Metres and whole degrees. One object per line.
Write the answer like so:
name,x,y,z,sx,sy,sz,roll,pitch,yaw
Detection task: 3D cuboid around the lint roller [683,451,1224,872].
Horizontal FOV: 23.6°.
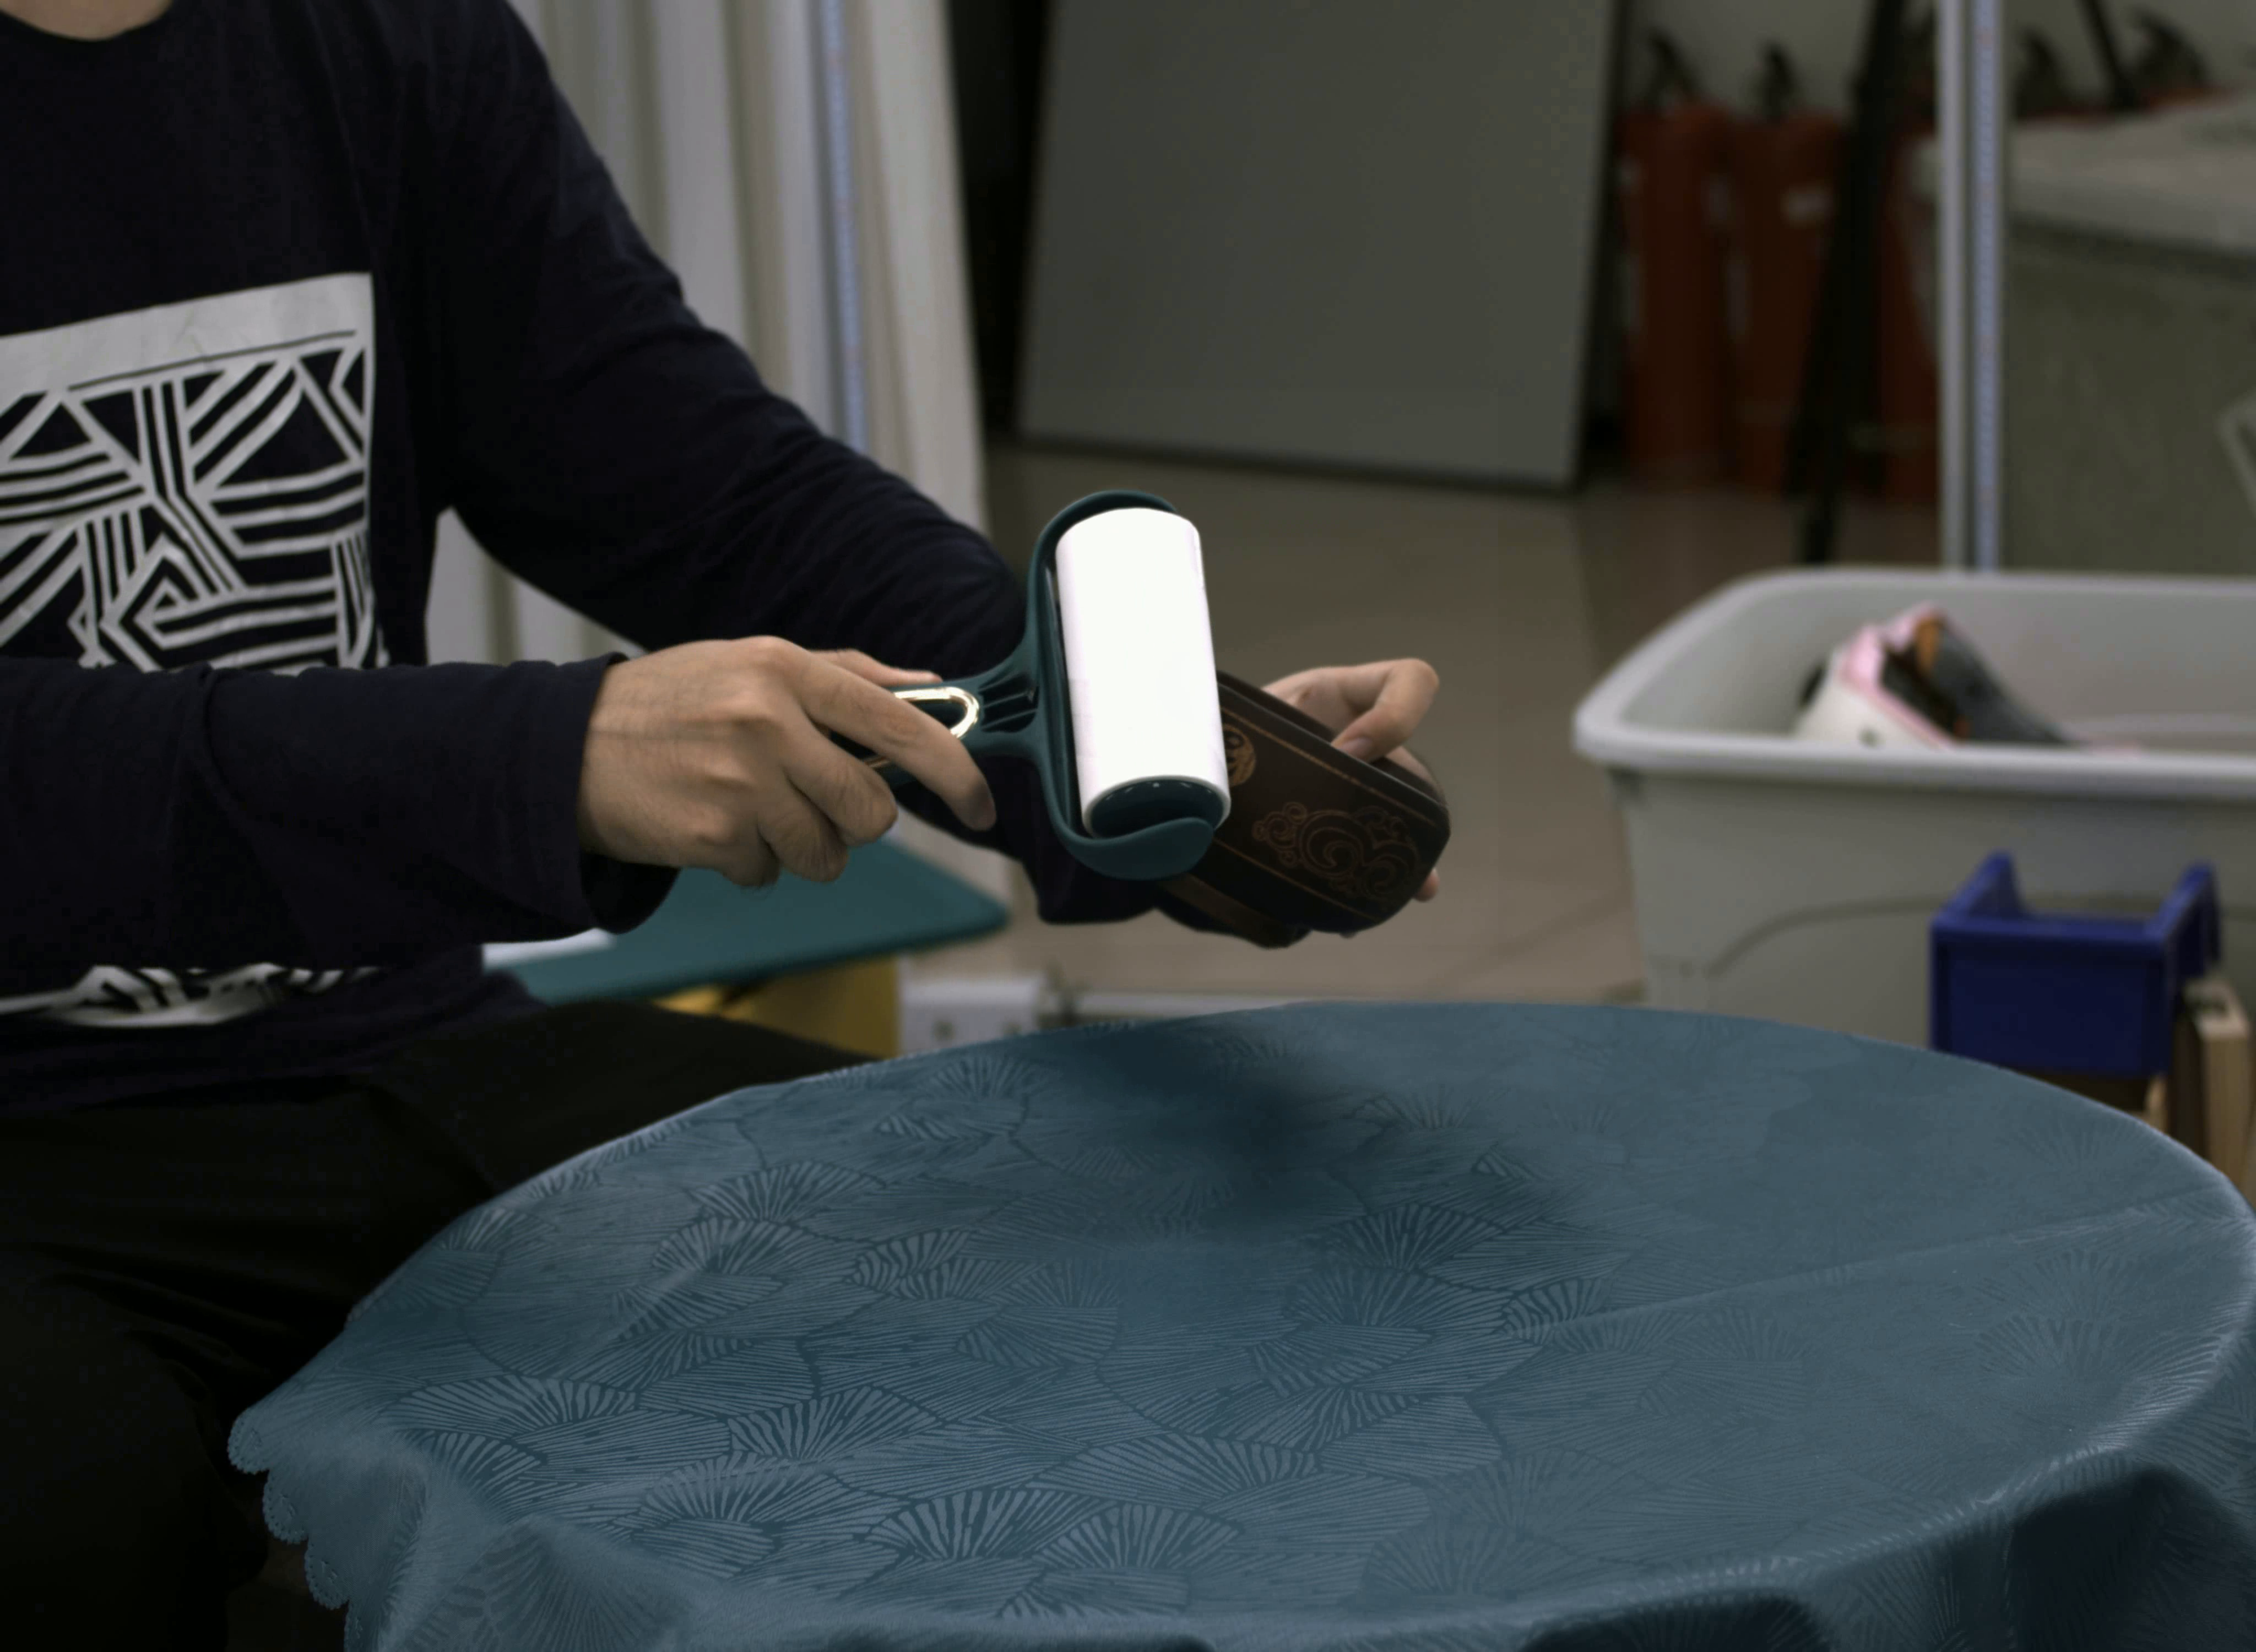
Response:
lint roller,-0.062,-0.036,1.704,0.179,0.136,0.048,-12,-30,10

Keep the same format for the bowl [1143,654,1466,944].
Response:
bowl,0.045,-0.005,1.753,0.117,0.070,0.118,26,4,-3
